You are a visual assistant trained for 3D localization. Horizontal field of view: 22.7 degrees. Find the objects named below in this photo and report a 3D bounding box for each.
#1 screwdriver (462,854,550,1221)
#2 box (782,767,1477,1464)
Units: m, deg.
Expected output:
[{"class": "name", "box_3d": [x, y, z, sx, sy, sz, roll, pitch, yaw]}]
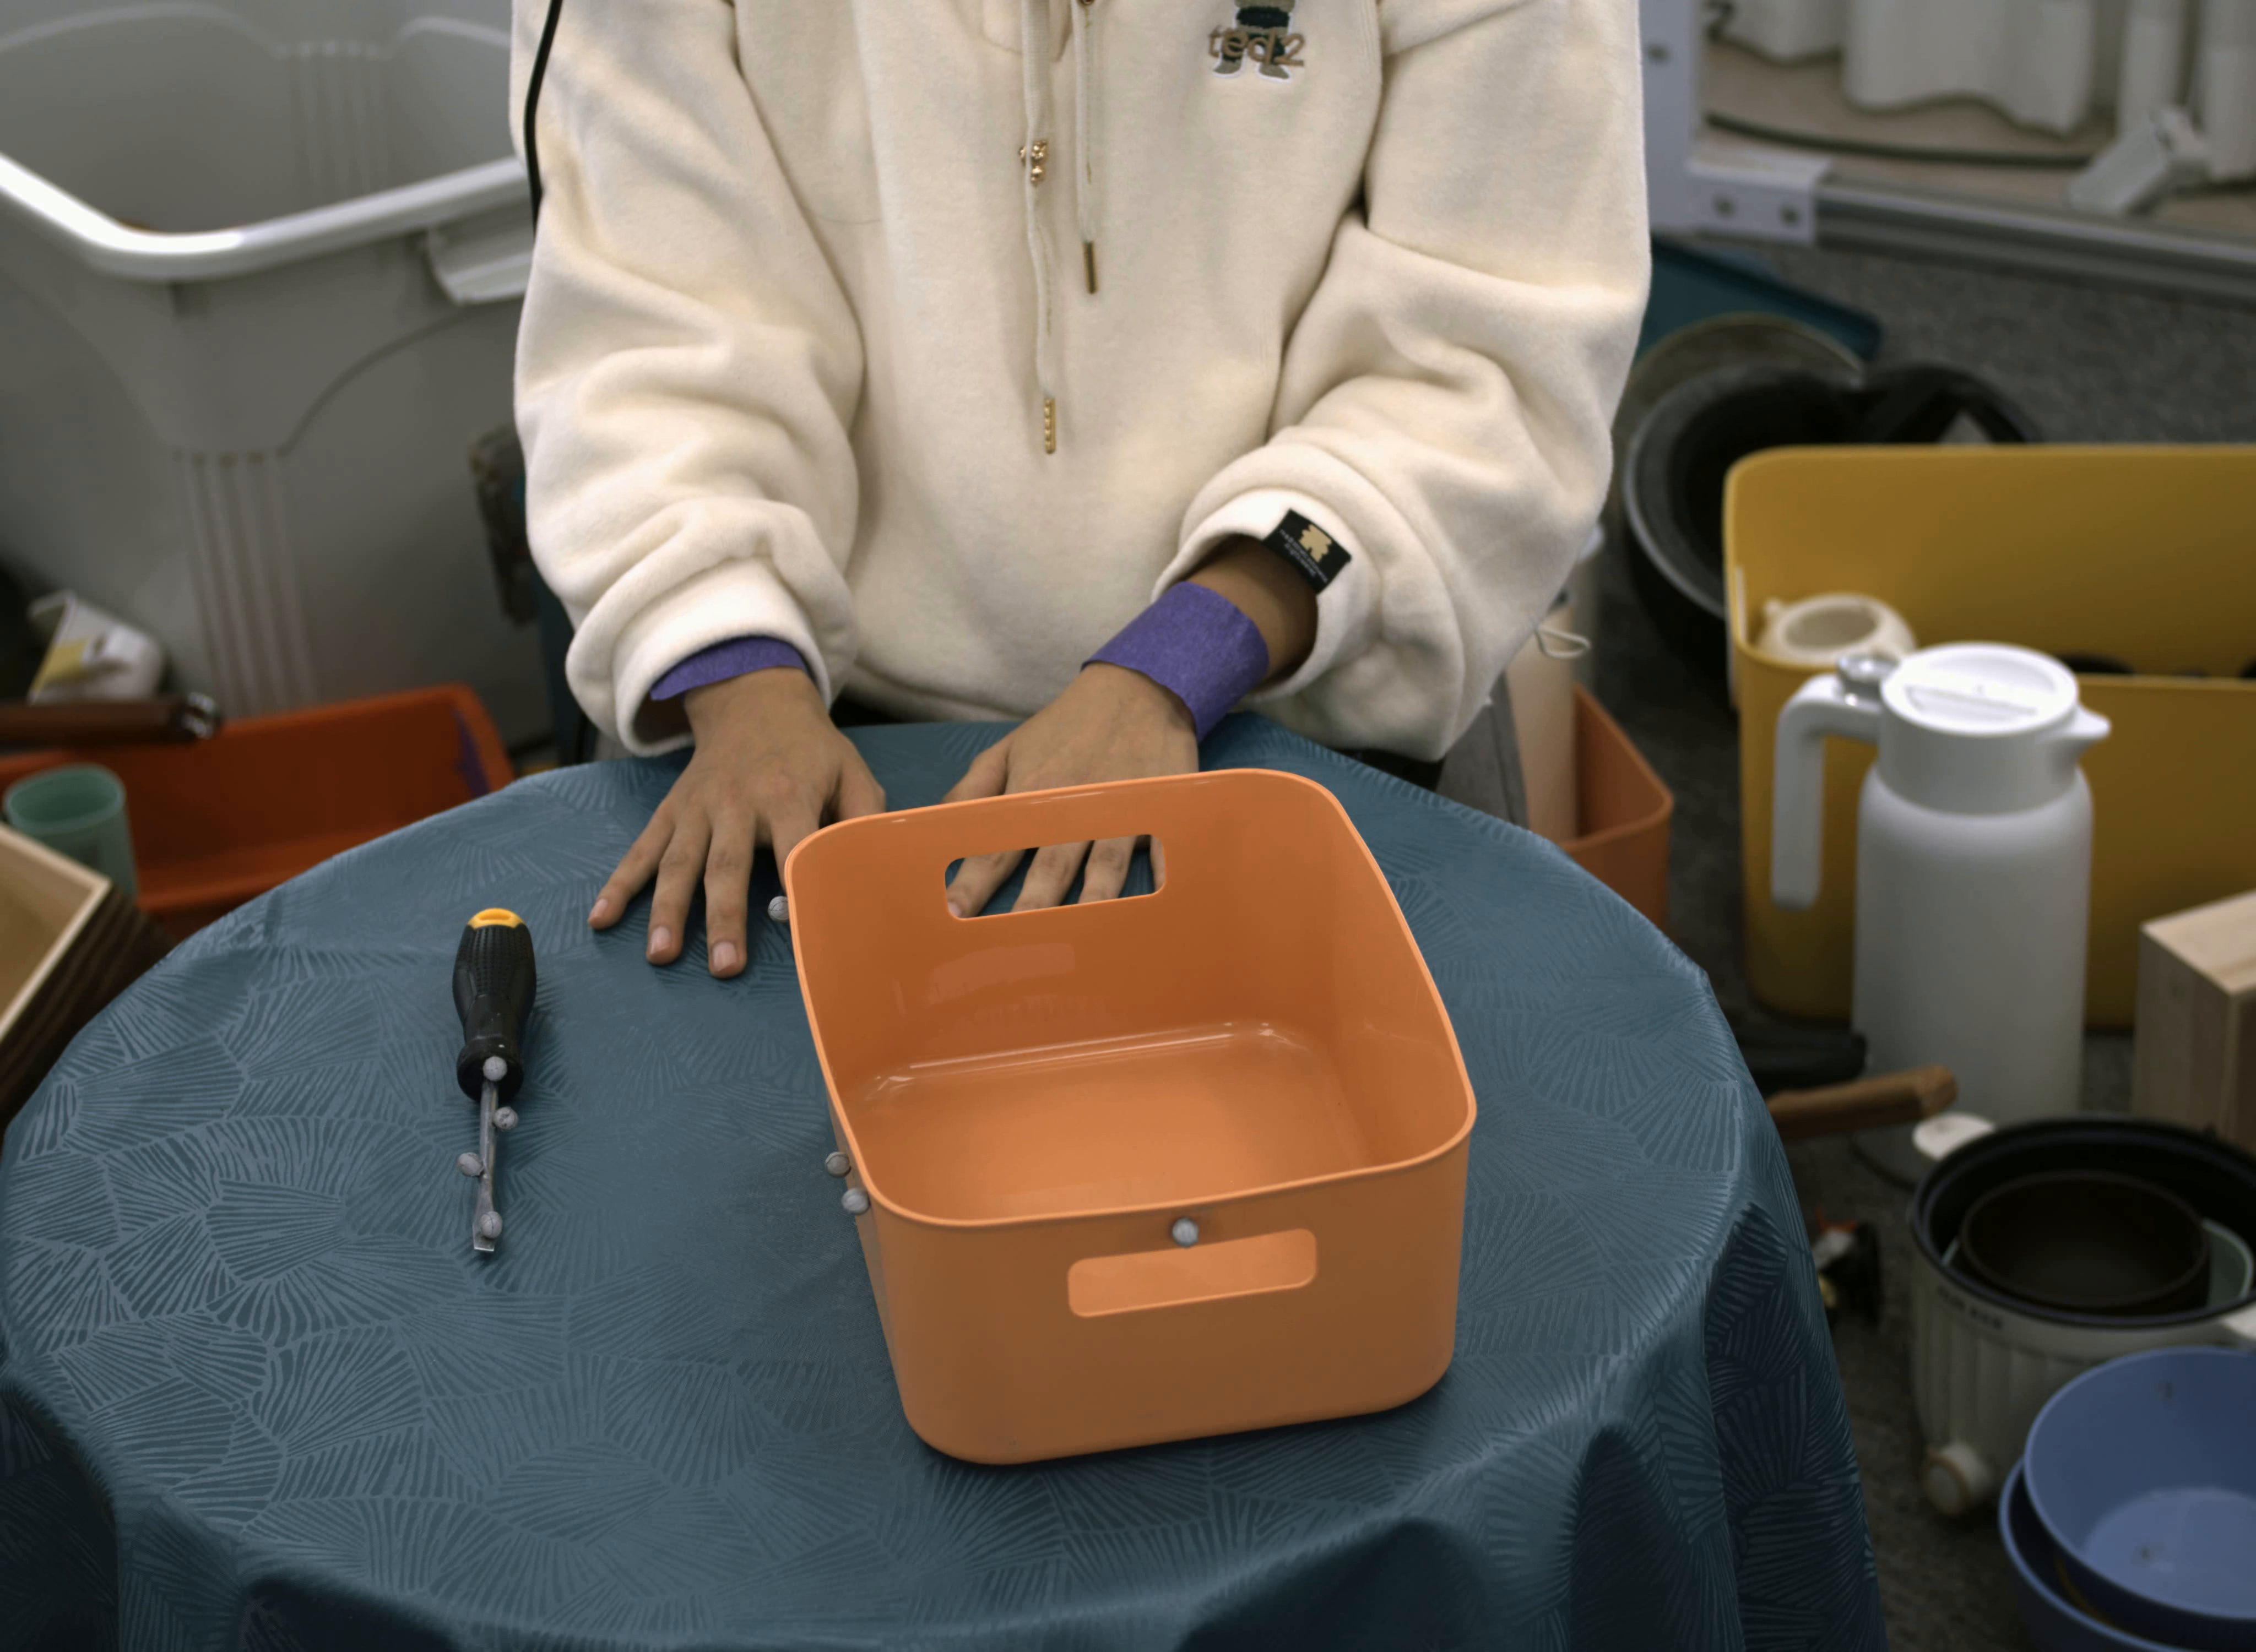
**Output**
[{"class": "screwdriver", "box_3d": [-0.211, 0.074, 1.927, 0.031, 0.031, 0.201, -5, 36, -5]}, {"class": "box", "box_3d": [0.000, 0.091, 1.807, 0.199, 0.101, 0.276, -8, 28, -8]}]
